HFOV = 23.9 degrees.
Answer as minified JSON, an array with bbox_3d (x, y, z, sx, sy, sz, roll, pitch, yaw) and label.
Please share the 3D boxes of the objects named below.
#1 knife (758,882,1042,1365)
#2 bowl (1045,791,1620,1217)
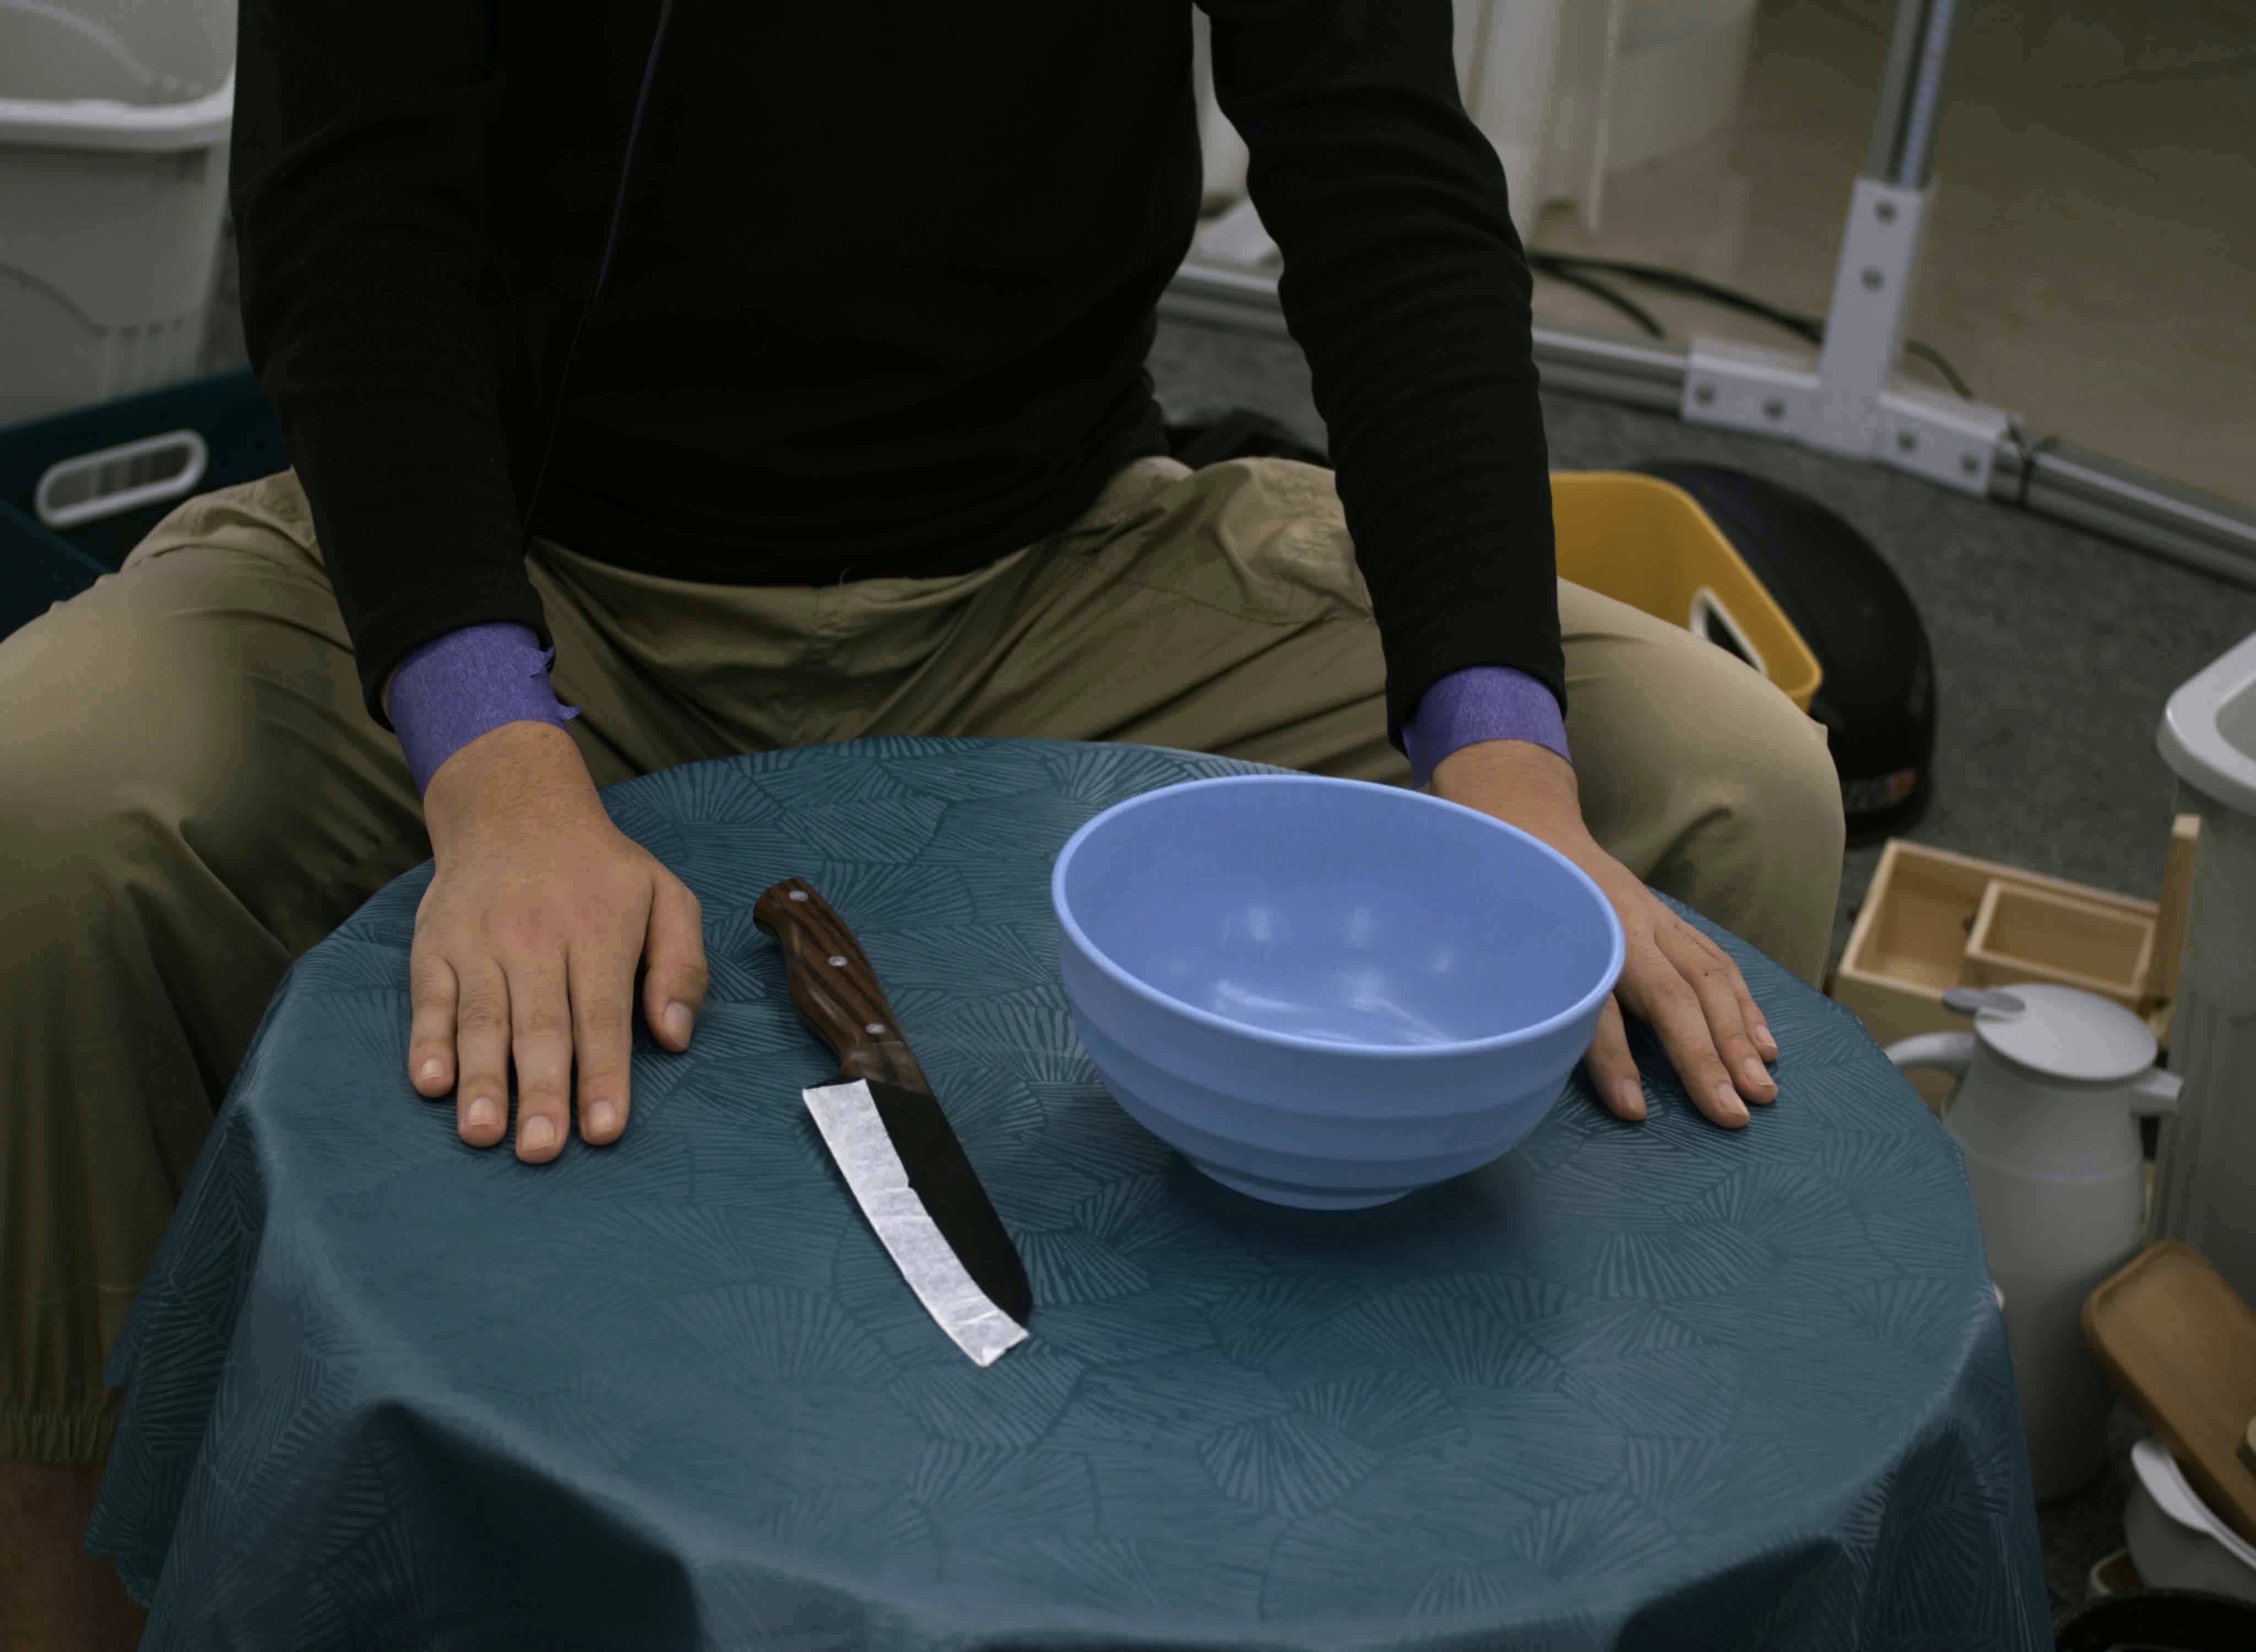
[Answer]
[{"bbox_3d":[-0.082,0.099,1.818,0.050,0.020,0.292,-7,32,-15],"label":"knife"},{"bbox_3d":[0.066,0.071,1.826,0.196,0.095,0.197,4,25,-2],"label":"bowl"}]
